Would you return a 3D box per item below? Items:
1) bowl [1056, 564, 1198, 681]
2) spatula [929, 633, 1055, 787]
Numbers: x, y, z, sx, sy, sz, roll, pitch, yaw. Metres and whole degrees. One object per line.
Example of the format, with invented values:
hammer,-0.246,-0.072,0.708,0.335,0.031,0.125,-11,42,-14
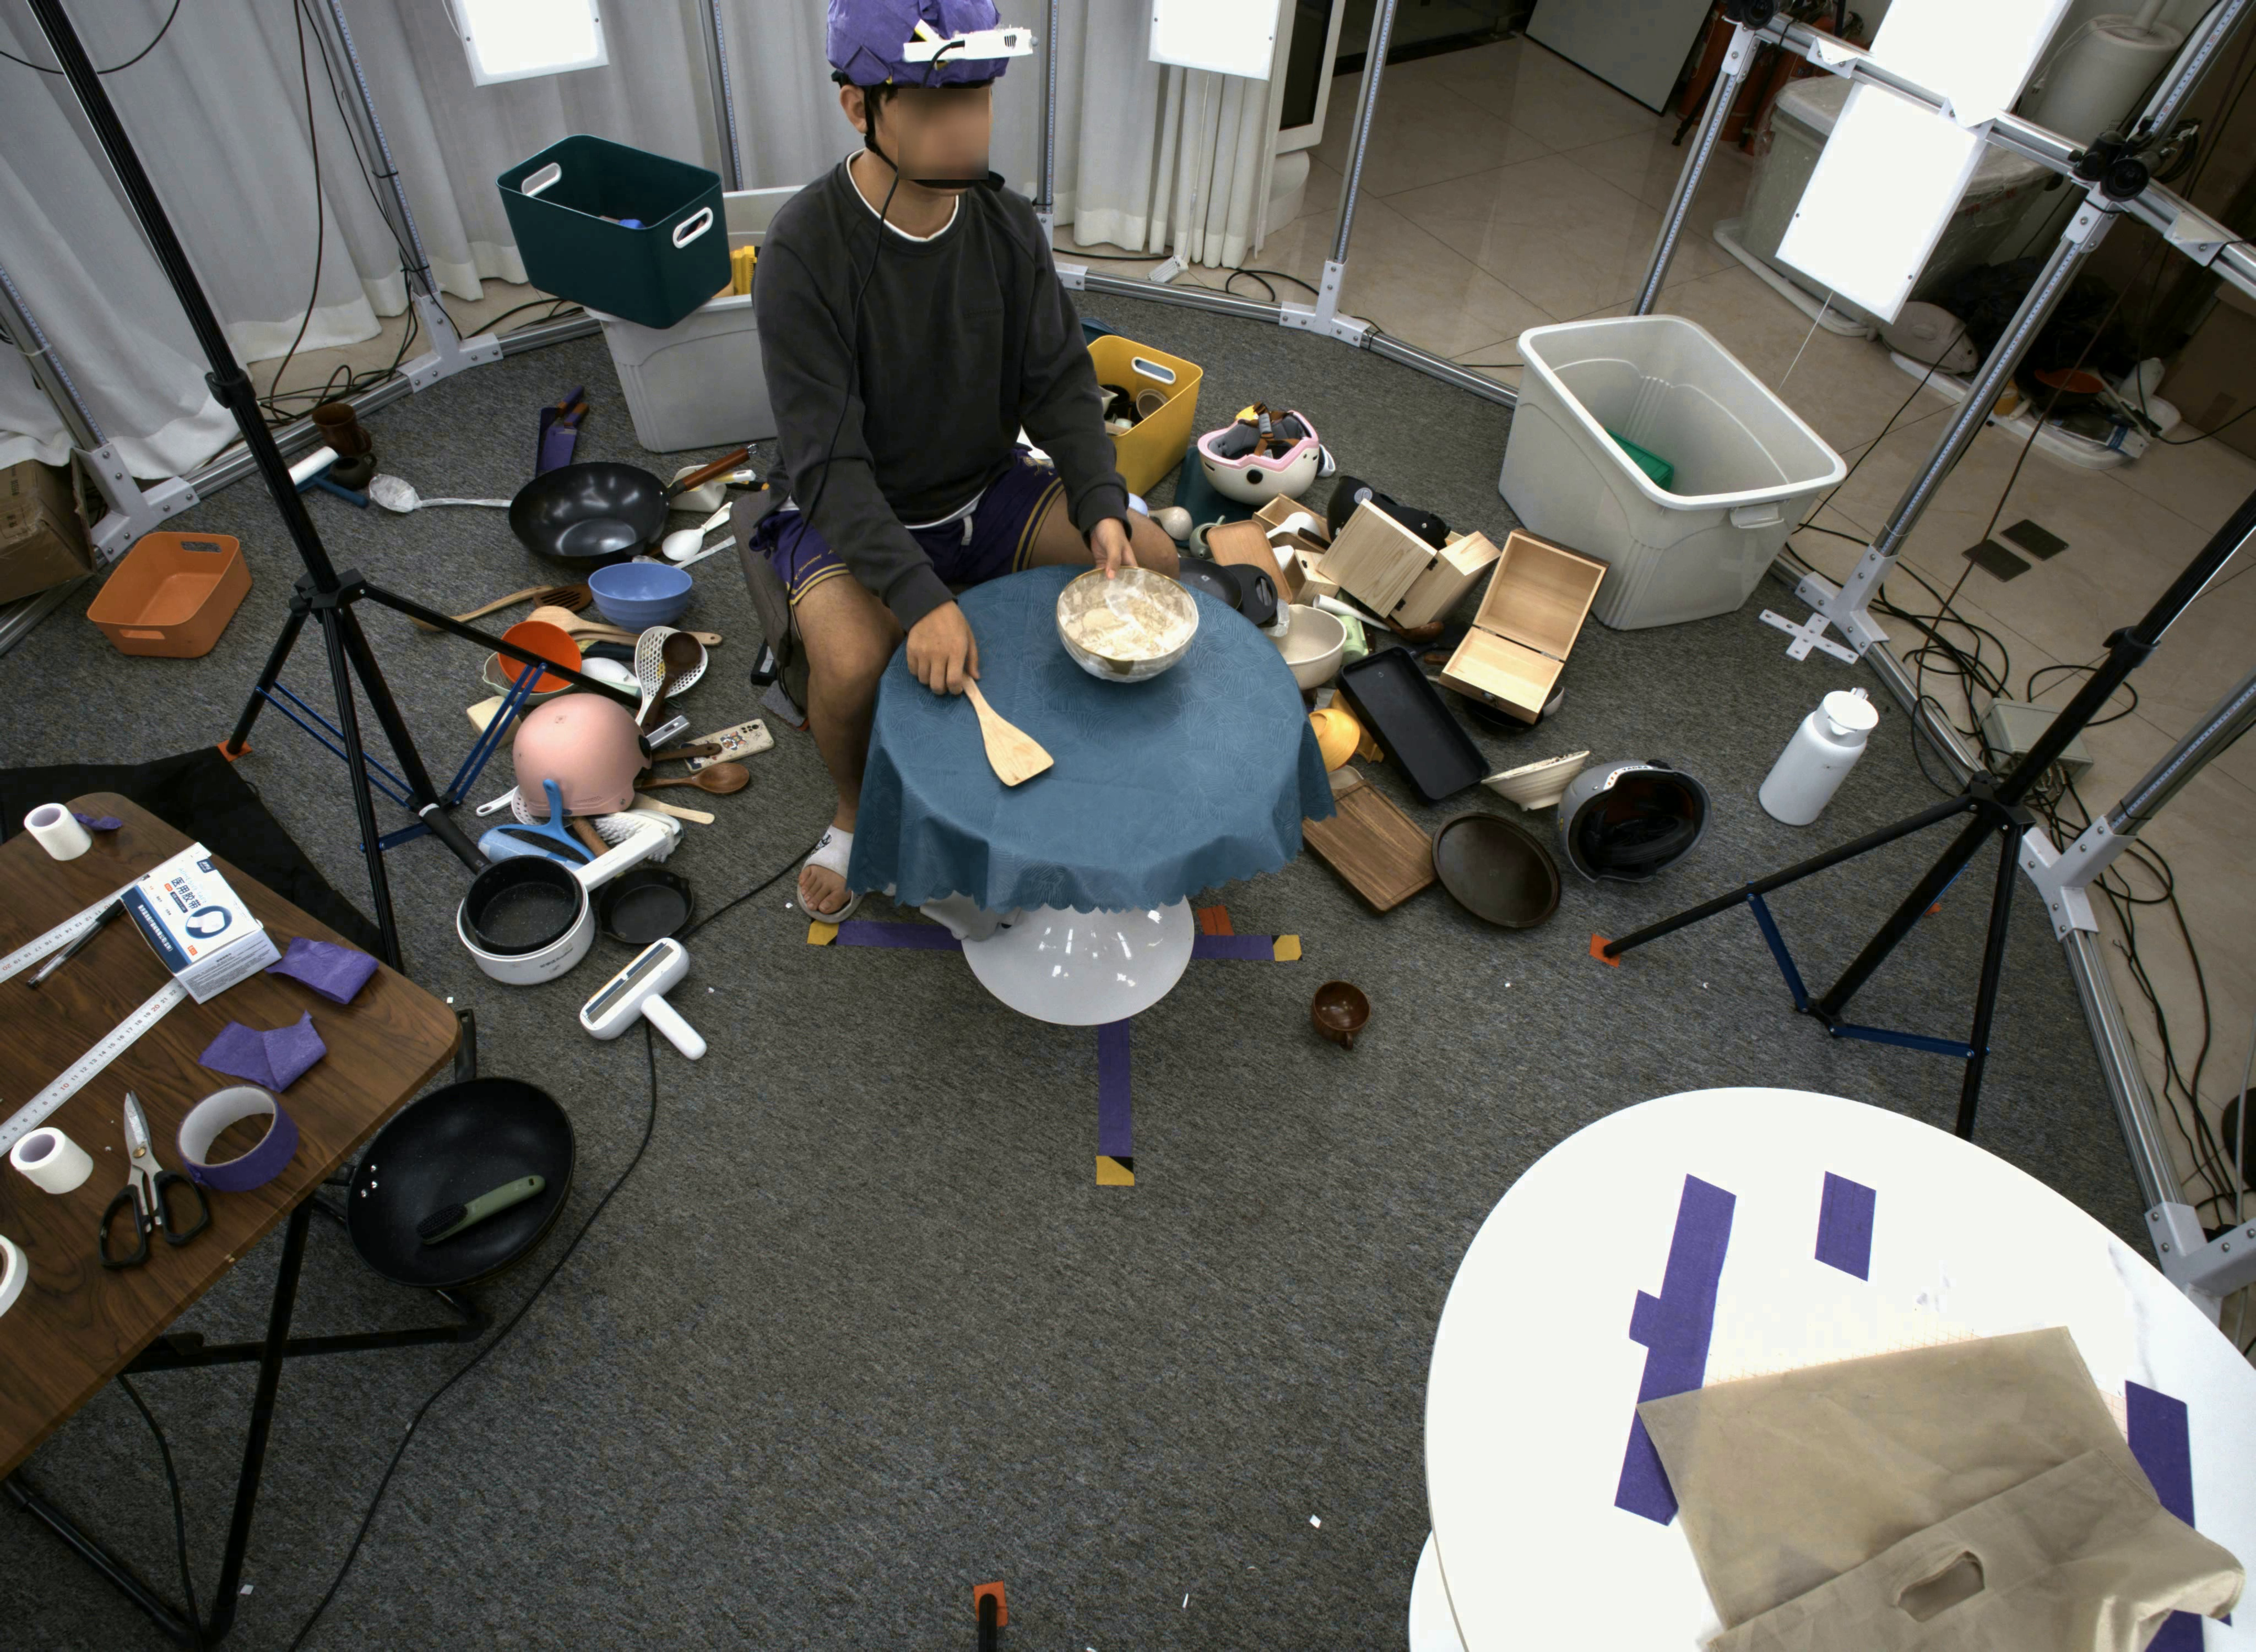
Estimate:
bowl,-0.006,-0.280,1.847,0.214,0.092,0.220,2,50,-2
spatula,-0.203,-0.172,1.791,0.080,0.016,0.335,-21,53,-20
